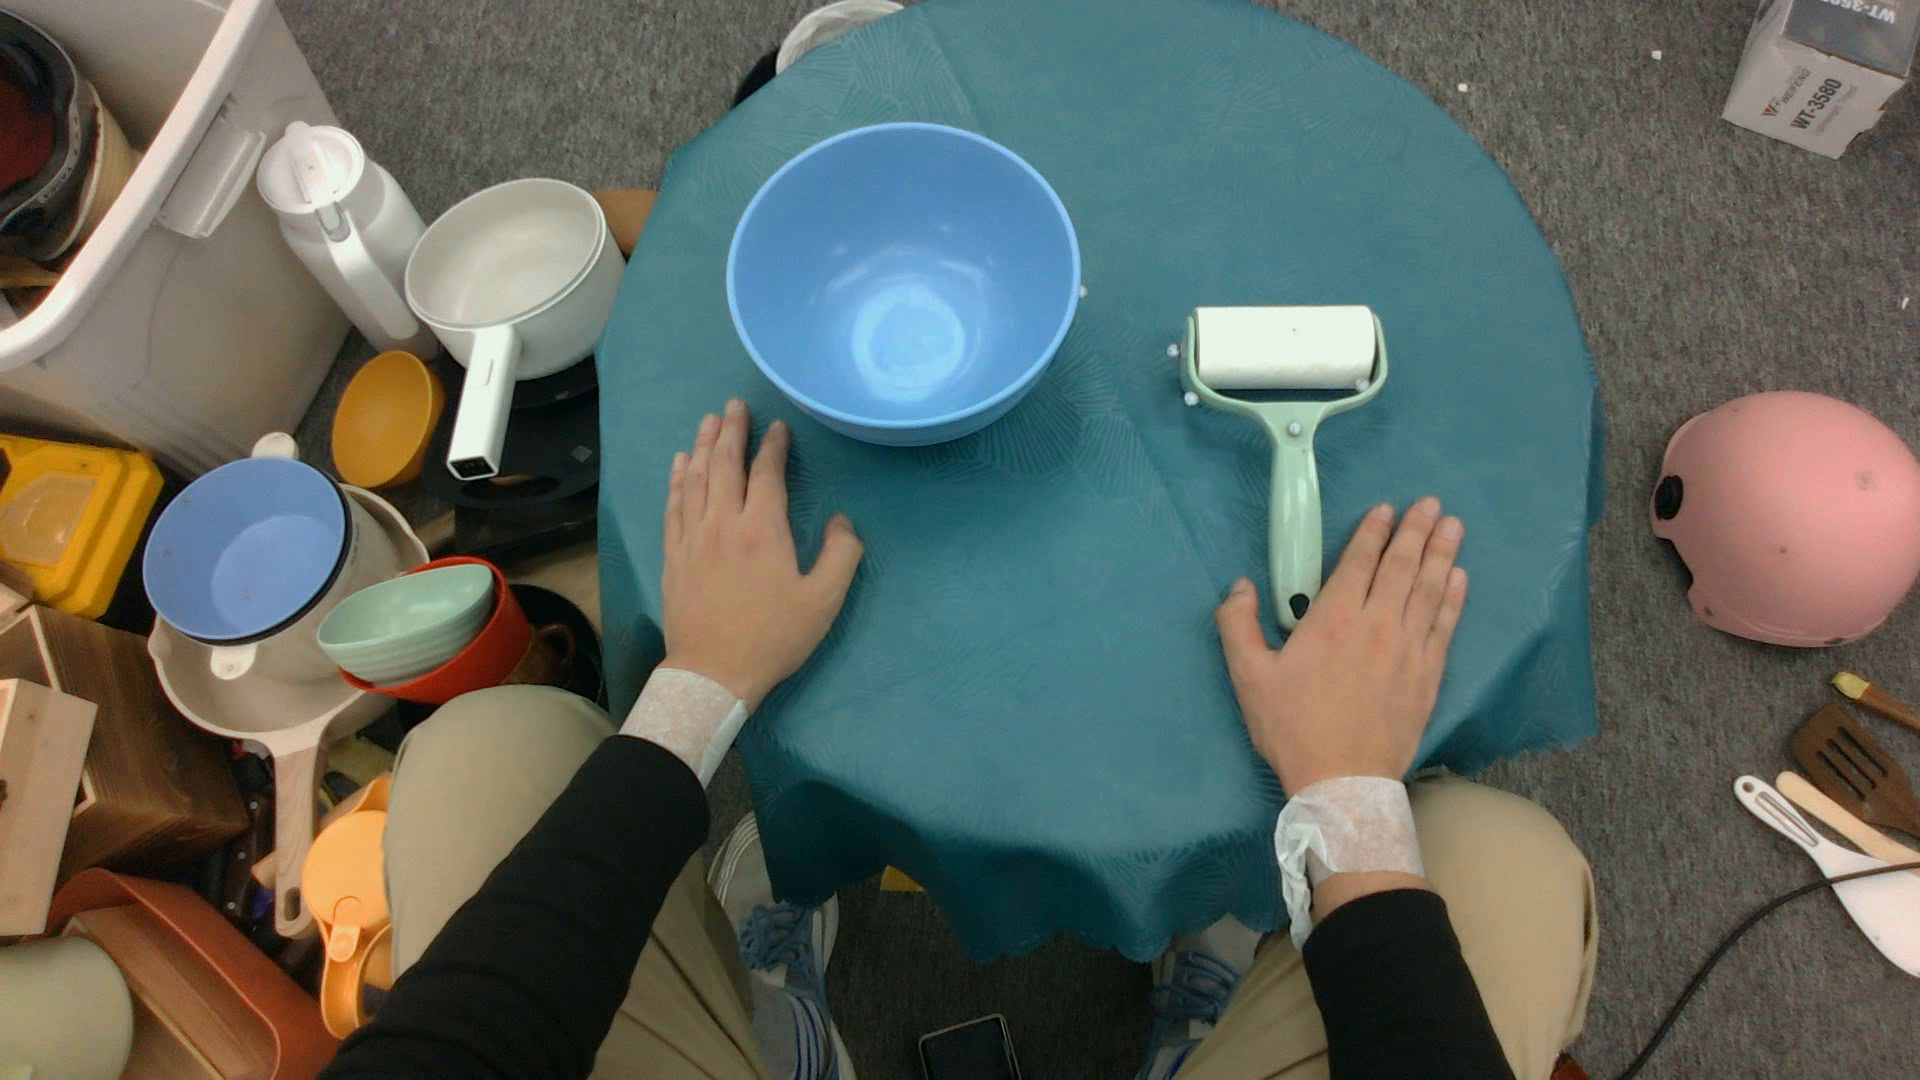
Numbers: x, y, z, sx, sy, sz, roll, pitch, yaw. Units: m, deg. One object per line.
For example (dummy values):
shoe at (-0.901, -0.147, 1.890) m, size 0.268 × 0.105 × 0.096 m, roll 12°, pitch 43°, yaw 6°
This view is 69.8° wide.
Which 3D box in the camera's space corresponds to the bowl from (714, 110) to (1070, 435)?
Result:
bowl at (-0.038, -0.140, 0.800) m, size 0.196 × 0.095 × 0.197 m, roll 0°, pitch 68°, yaw 0°

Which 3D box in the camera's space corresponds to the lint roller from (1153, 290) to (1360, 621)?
lint roller at (0.173, -0.053, 0.789) m, size 0.116 × 0.048 × 0.198 m, roll 0°, pitch 70°, yaw 0°
